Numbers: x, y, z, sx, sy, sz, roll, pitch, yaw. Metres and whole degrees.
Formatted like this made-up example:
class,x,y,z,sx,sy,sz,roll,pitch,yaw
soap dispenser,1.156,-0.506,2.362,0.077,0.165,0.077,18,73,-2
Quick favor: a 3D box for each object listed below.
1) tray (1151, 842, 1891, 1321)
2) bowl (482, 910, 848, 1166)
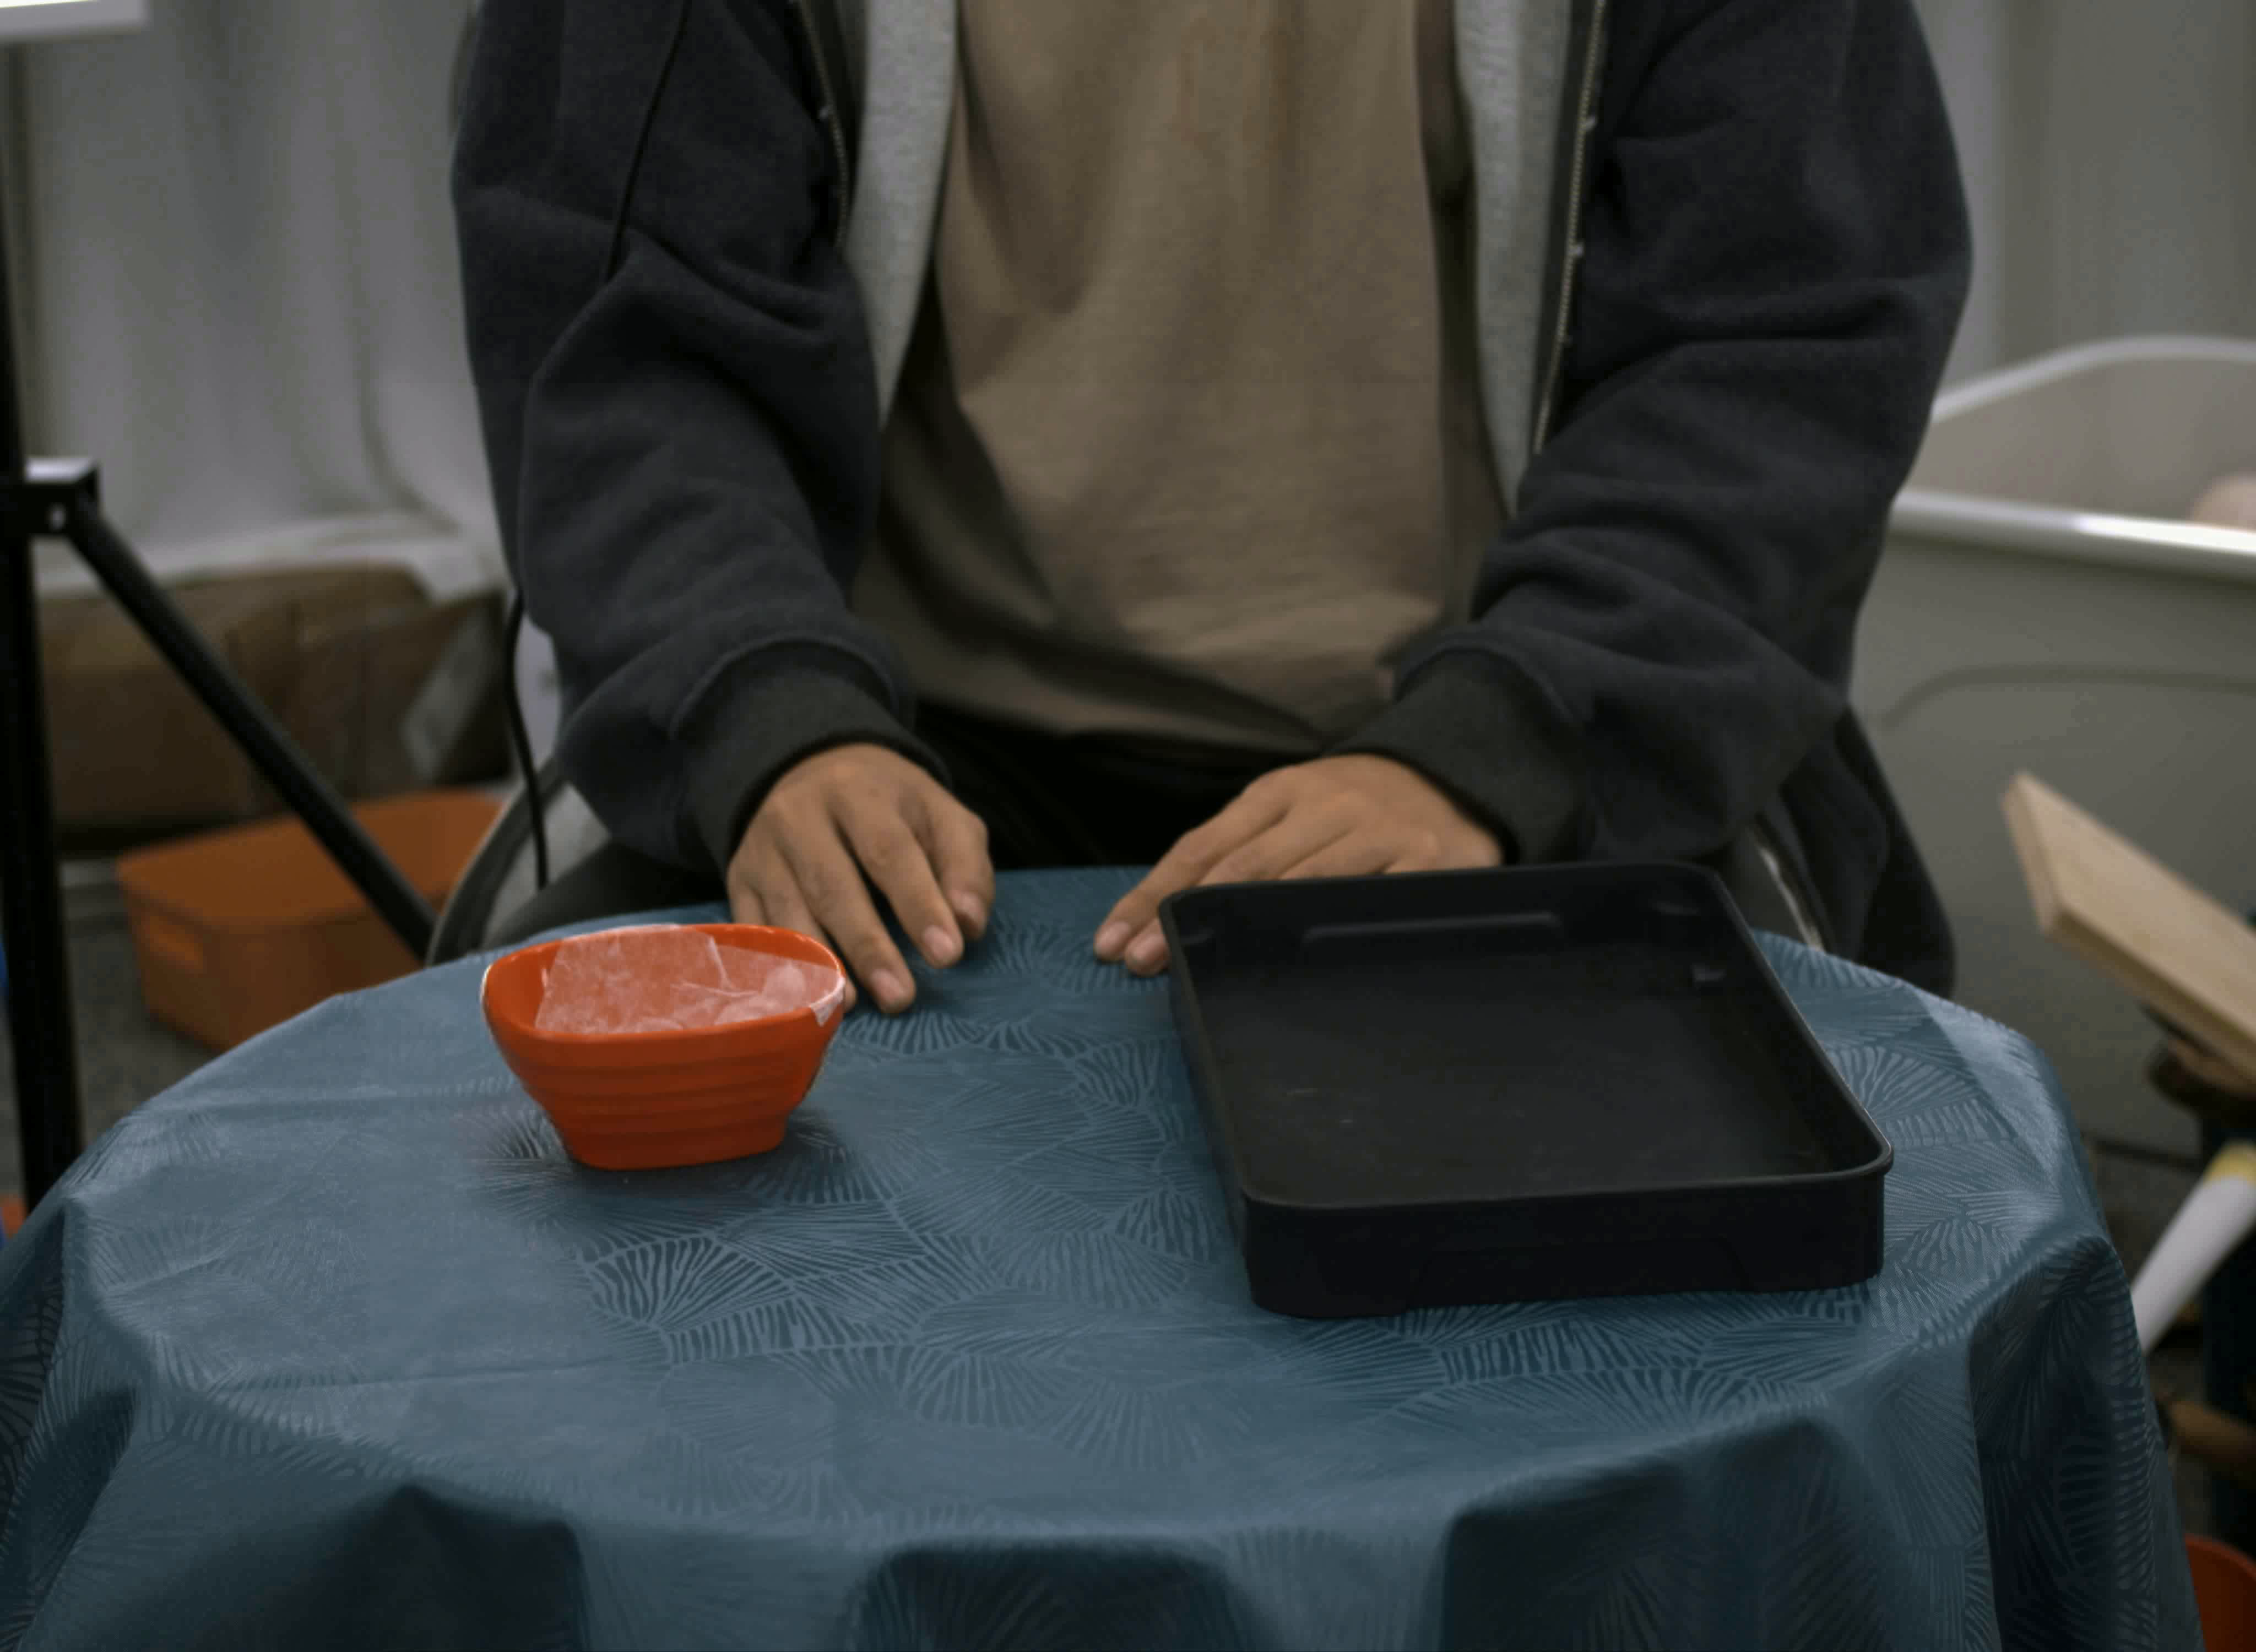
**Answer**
class,x,y,z,sx,sy,sz,roll,pitch,yaw
tray,0.110,0.071,1.599,0.183,0.037,0.320,-3,17,-3
bowl,-0.140,0.067,1.628,0.118,0.051,0.119,-3,18,0
